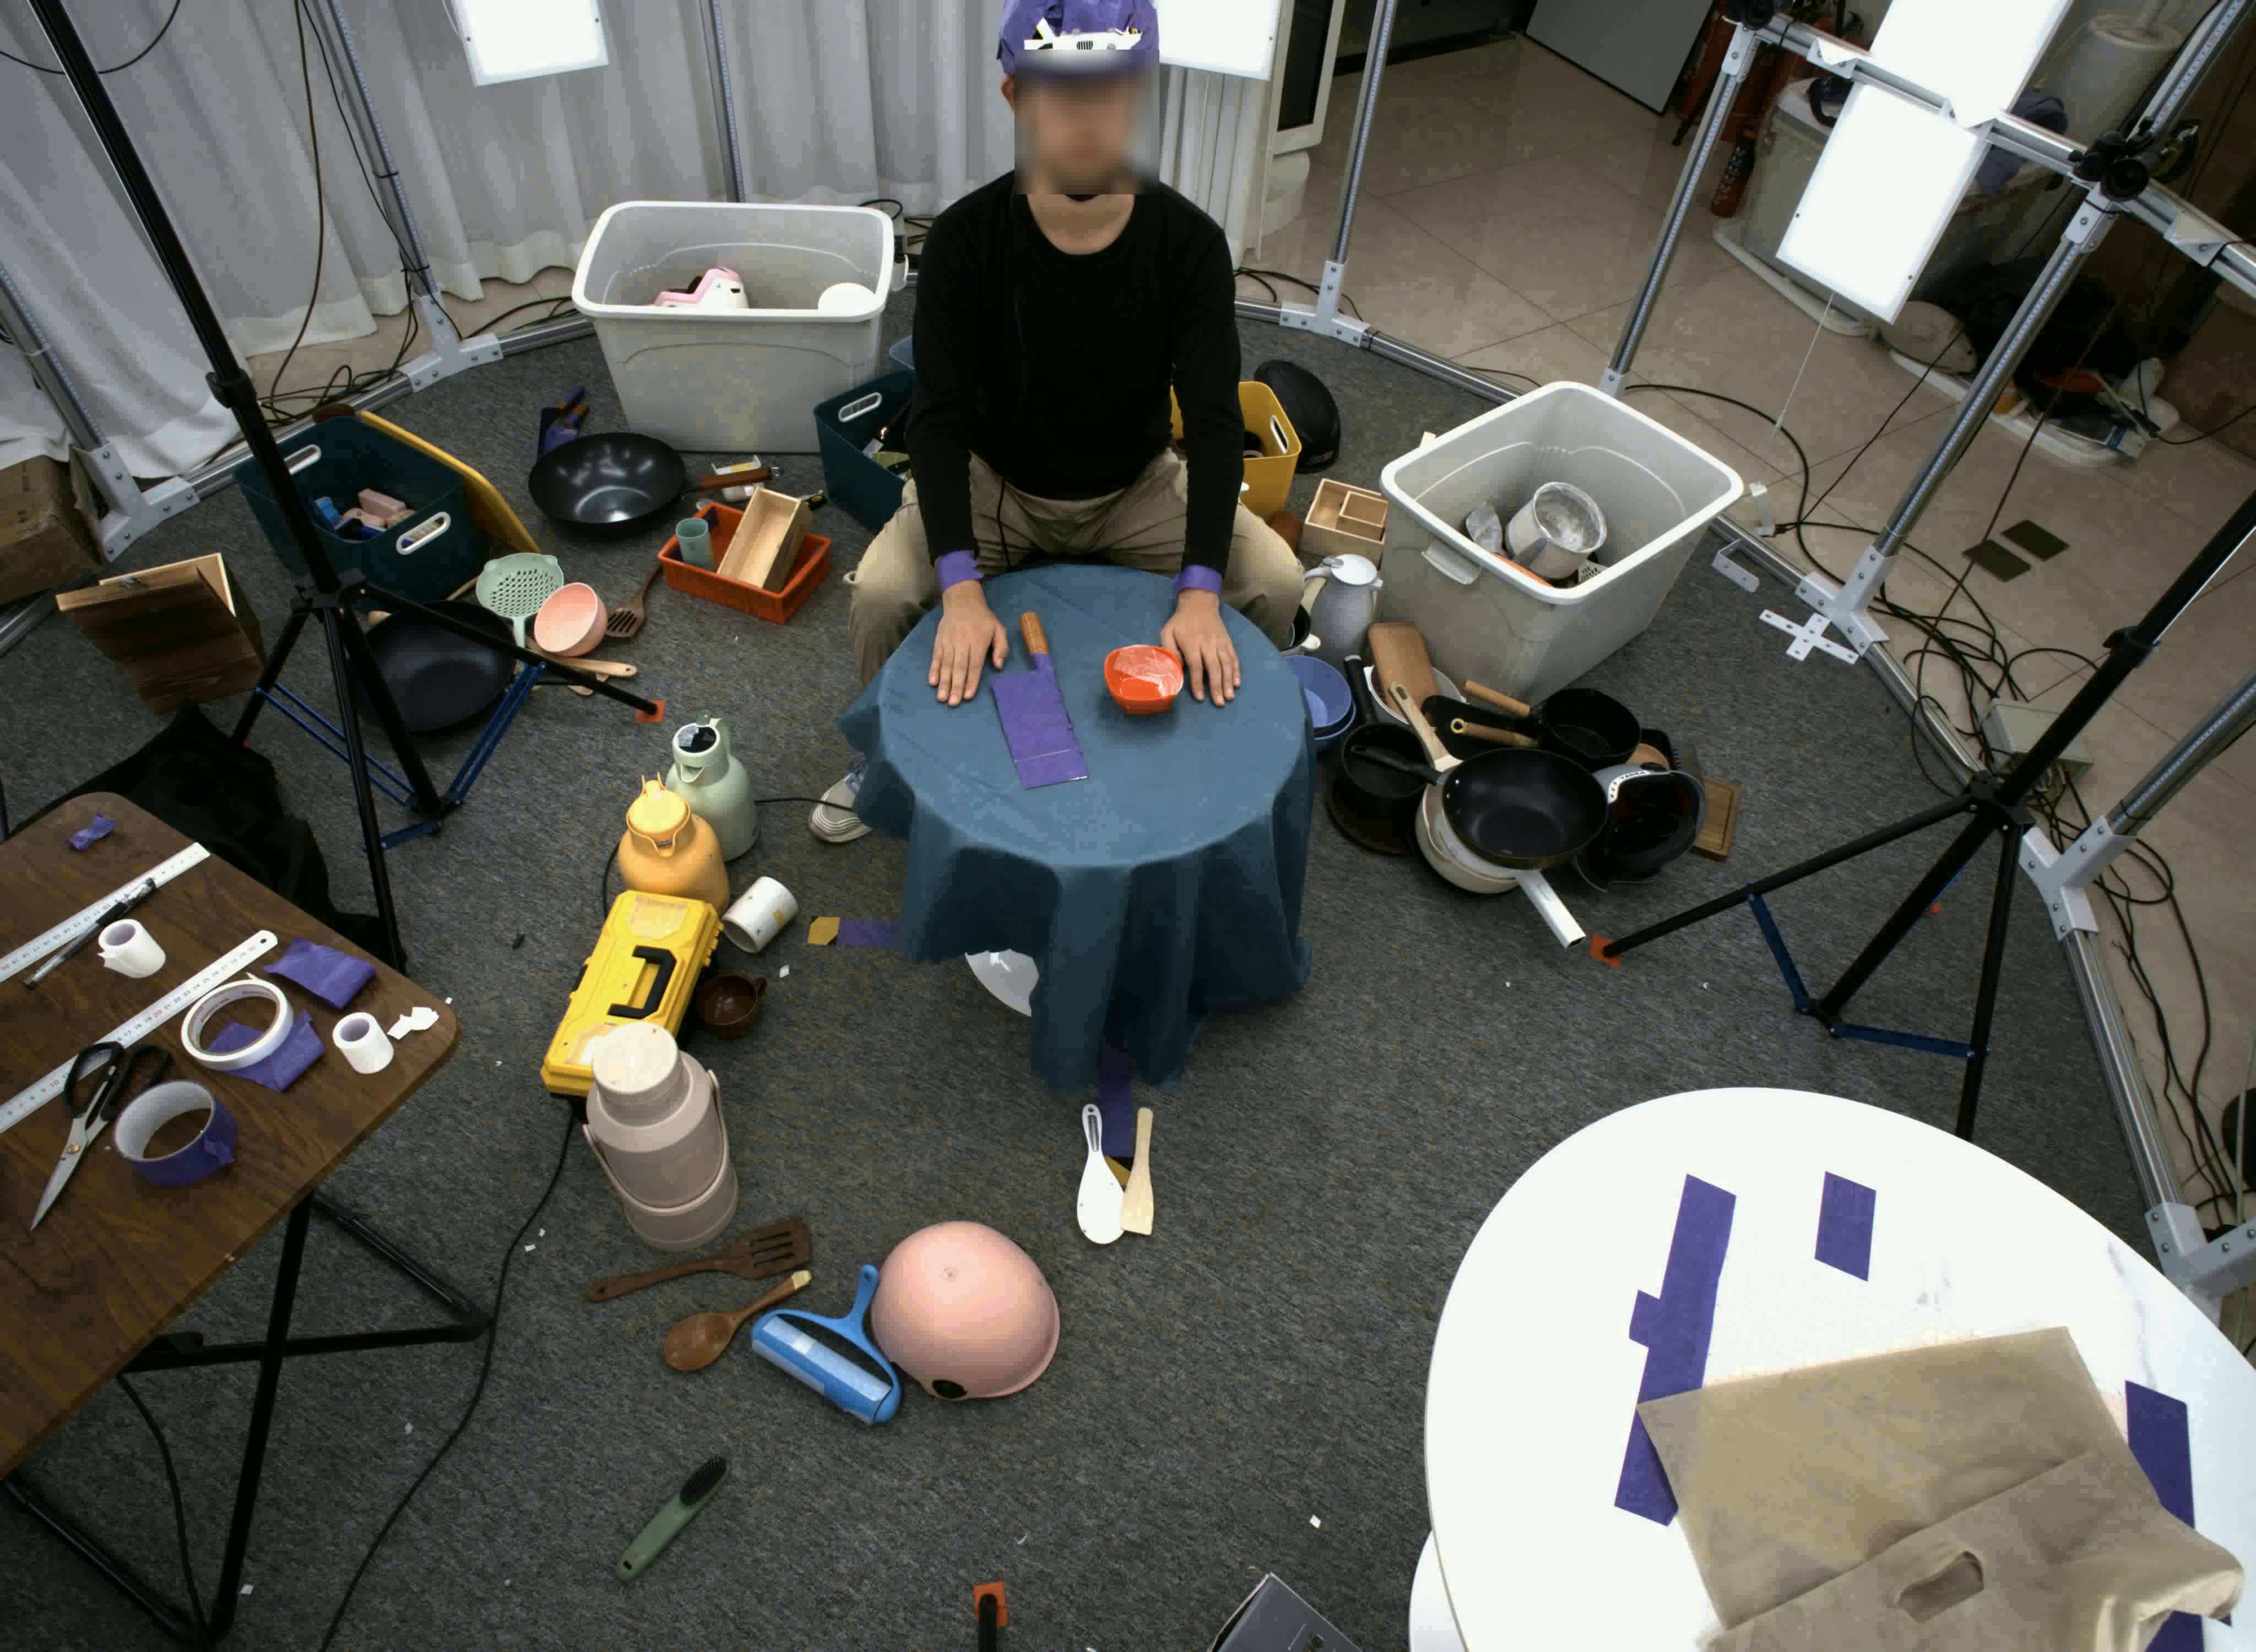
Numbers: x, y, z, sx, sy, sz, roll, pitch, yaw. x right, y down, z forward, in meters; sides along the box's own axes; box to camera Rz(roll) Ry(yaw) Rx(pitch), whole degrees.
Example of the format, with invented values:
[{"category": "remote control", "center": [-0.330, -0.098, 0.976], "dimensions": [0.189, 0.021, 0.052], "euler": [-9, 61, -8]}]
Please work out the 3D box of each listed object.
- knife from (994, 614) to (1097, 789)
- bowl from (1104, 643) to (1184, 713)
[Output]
[{"category": "knife", "center": [-0.134, -0.180, 1.800], "dimensions": [0.104, 0.031, 0.323], "euler": [-10, 51, -13]}, {"category": "bowl", "center": [0.022, -0.202, 1.809], "dimensions": [0.119, 0.050, 0.122], "euler": [1, 52, -2]}]
